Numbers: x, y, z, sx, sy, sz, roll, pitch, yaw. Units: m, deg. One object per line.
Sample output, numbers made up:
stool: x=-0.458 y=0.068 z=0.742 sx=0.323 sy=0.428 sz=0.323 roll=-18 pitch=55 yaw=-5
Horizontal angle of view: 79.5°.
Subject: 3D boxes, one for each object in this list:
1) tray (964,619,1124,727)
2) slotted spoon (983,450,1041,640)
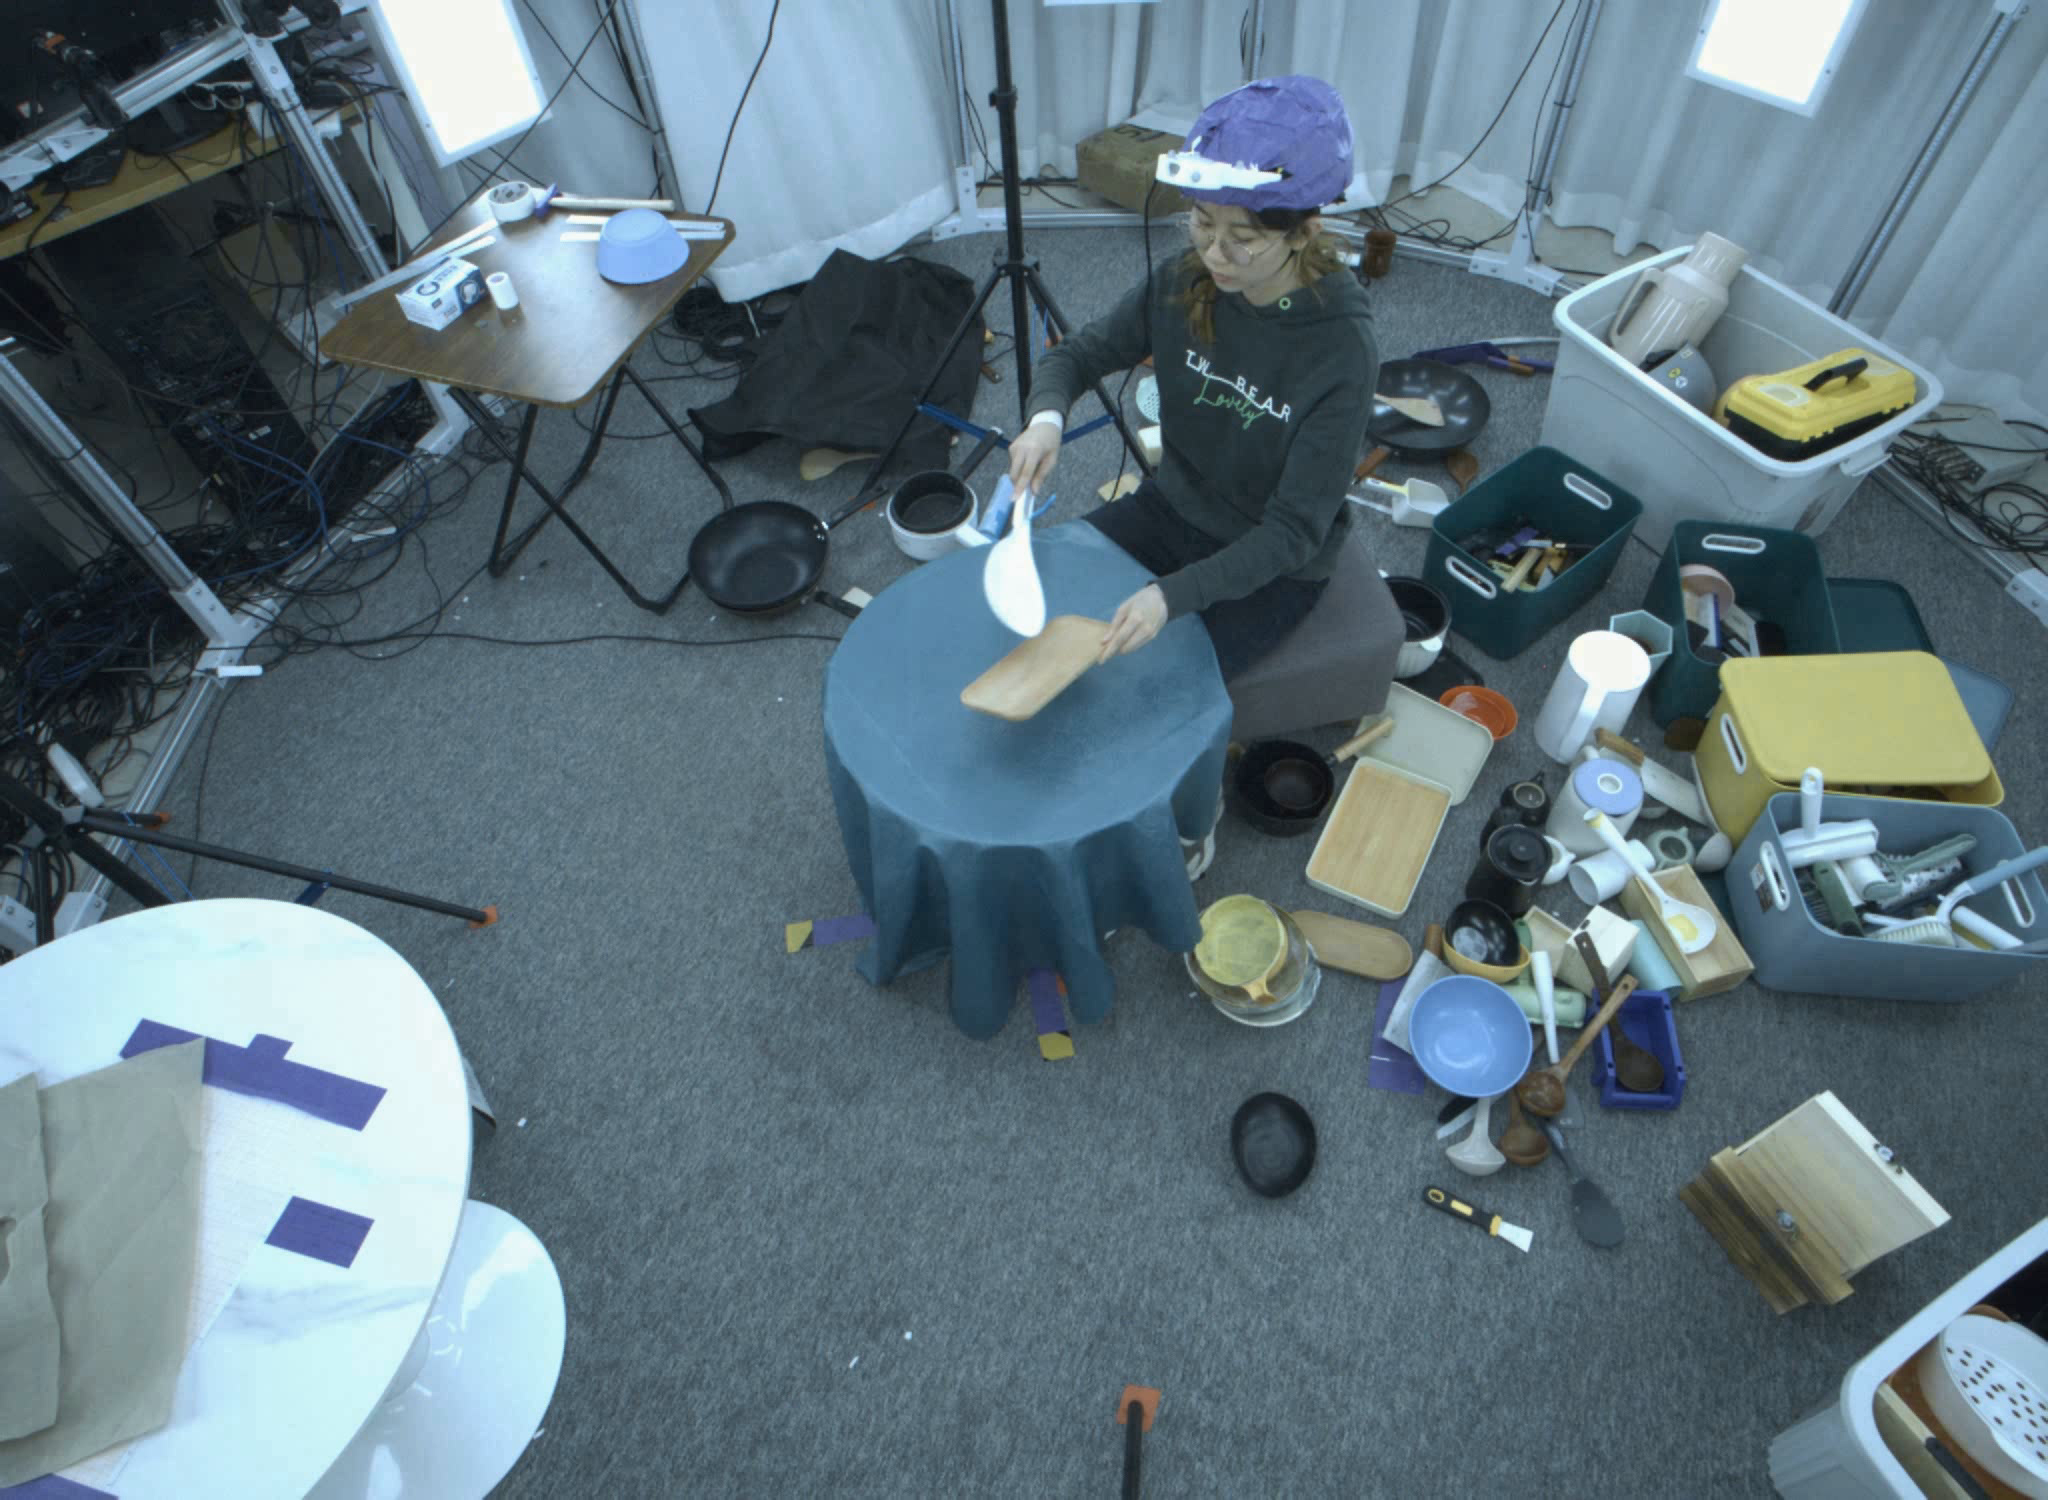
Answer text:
tray: x=0.031 y=-0.113 z=1.757 sx=0.128 sy=0.023 sz=0.253 roll=21 pitch=46 yaw=34
slotted spoon: x=-0.006 y=-0.308 z=1.775 sx=0.045 sy=0.139 sz=0.347 roll=-8 pitch=55 yaw=31
